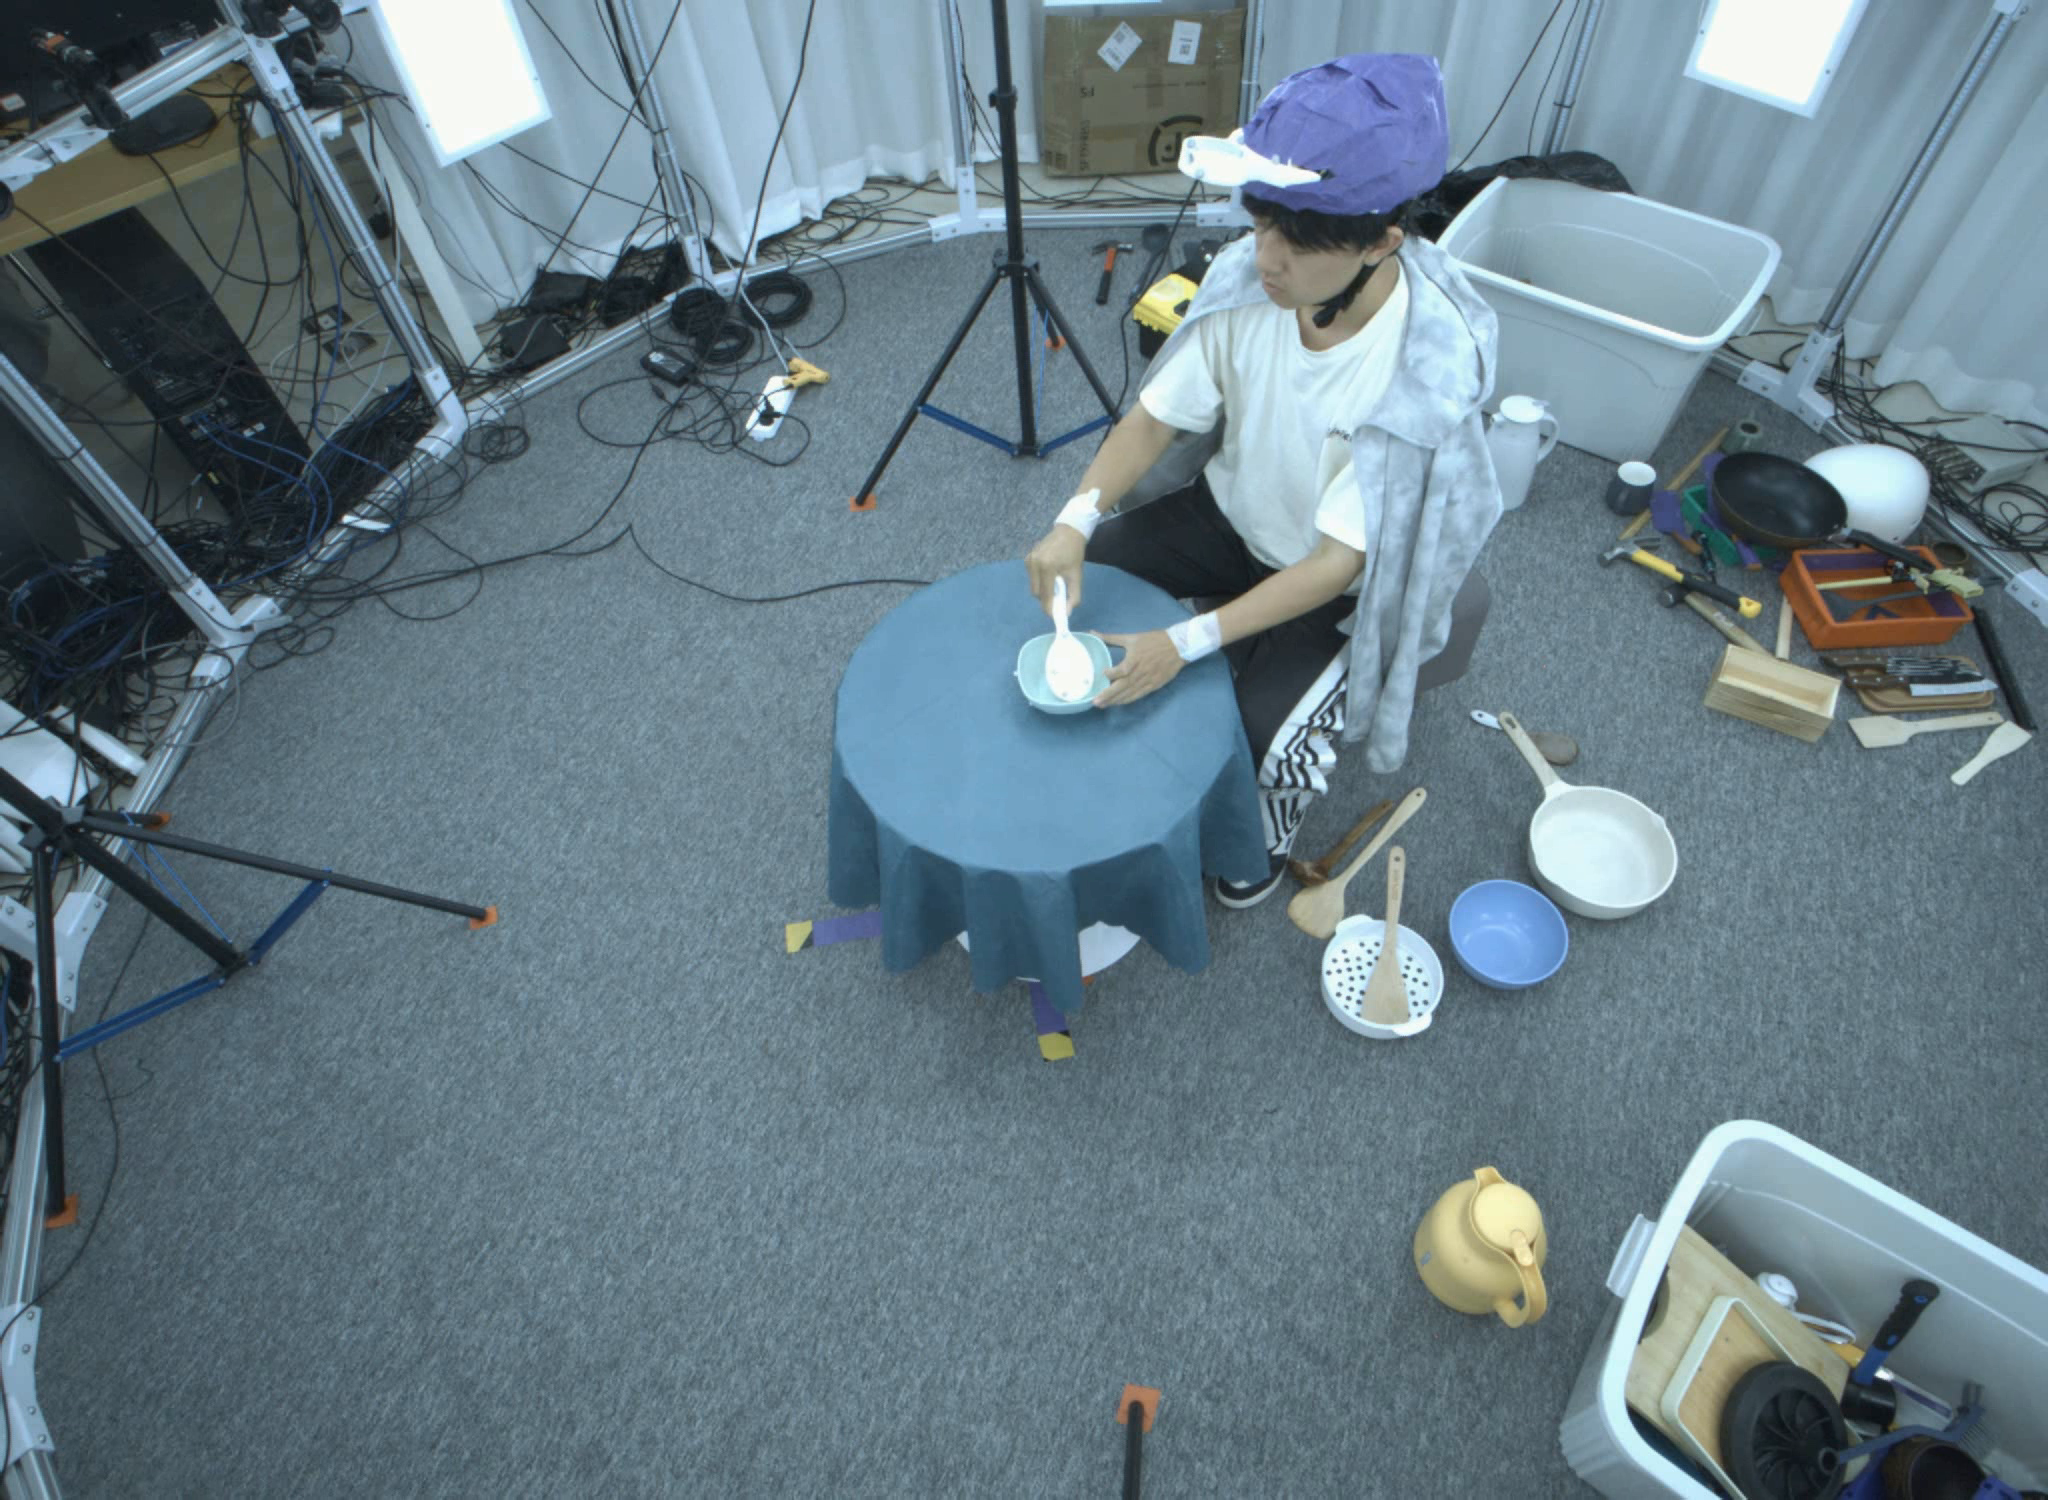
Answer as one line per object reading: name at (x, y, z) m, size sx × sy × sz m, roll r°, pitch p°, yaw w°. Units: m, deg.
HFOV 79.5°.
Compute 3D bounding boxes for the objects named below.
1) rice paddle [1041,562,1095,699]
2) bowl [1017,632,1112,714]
rice paddle at (0.059, -0.176, 1.815) m, size 0.068 × 0.029 × 0.205 m, roll -11°, pitch 87°, yaw 7°
bowl at (0.061, -0.104, 1.826) m, size 0.151 × 0.059 × 0.150 m, roll -2°, pitch 54°, yaw 4°
